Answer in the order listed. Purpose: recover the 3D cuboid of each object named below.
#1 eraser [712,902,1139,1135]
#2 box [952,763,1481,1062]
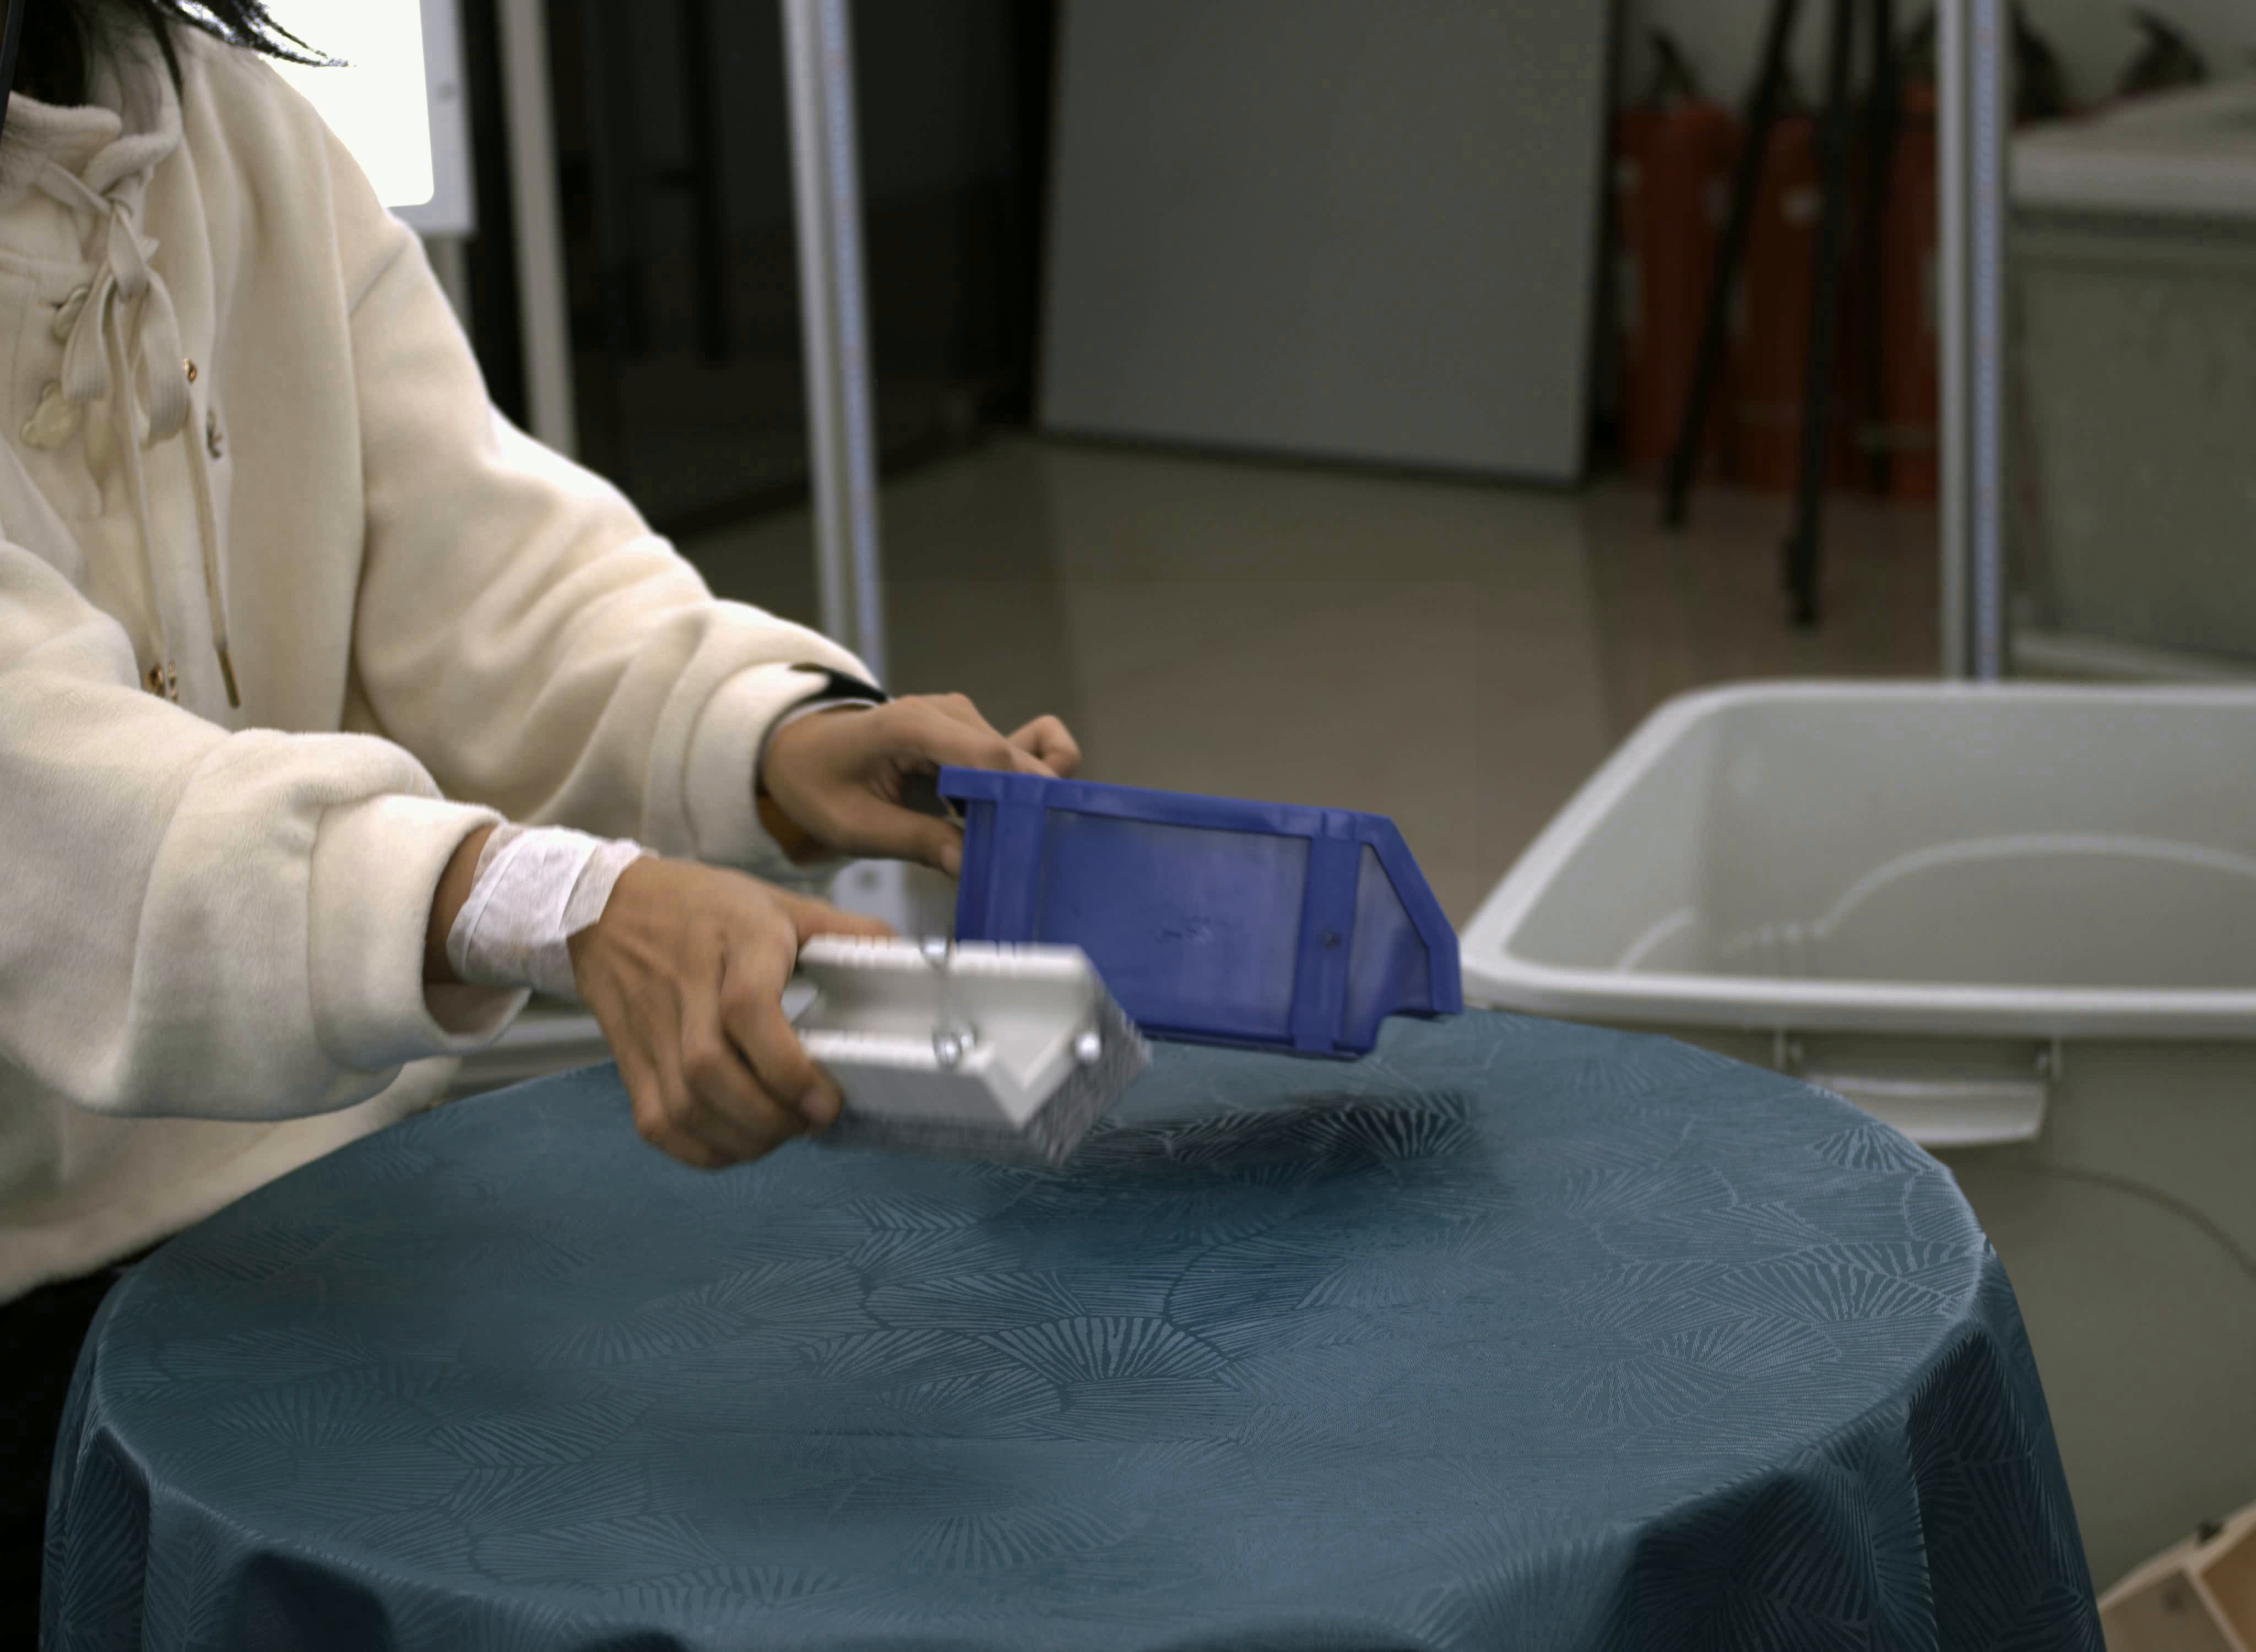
[{"bbox_3d":[-0.058,0.056,1.545,0.135,0.046,0.049,-4,42,52],"label":"eraser"},{"bbox_3d":[0.030,0.032,1.807,0.177,0.083,0.124,4,-5,3],"label":"box"}]
